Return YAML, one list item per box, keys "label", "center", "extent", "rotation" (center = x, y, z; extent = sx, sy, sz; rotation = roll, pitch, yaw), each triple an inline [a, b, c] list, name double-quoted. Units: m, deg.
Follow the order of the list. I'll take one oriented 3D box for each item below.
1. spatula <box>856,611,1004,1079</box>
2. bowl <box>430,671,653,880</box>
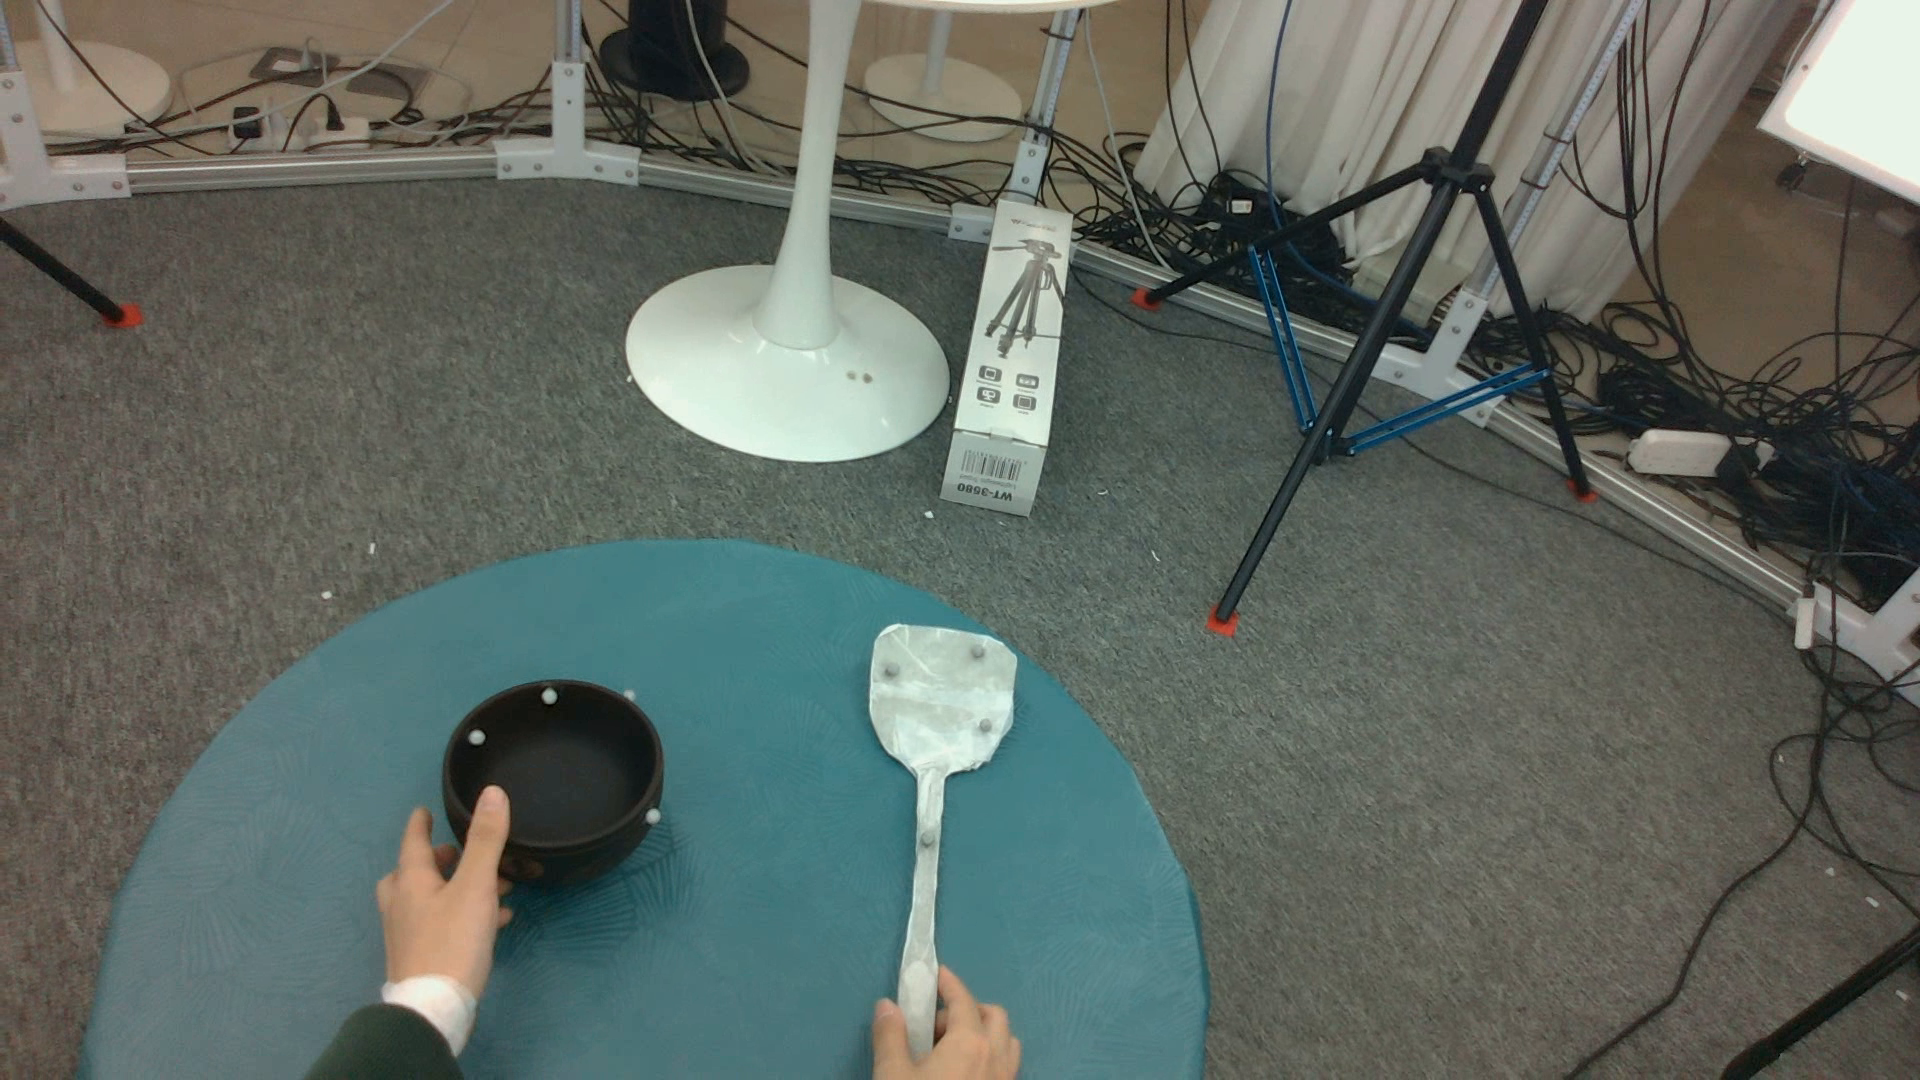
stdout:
- label: "spatula"
  center: [-0.030, 0.188, 0.808]
  extent: [0.099, 0.044, 0.366]
  rotation: [12, 42, -6]
- label: "bowl"
  center: [-0.234, 0.139, 0.774]
  extent: [0.118, 0.069, 0.118]
  rotation: [8, 43, -7]
